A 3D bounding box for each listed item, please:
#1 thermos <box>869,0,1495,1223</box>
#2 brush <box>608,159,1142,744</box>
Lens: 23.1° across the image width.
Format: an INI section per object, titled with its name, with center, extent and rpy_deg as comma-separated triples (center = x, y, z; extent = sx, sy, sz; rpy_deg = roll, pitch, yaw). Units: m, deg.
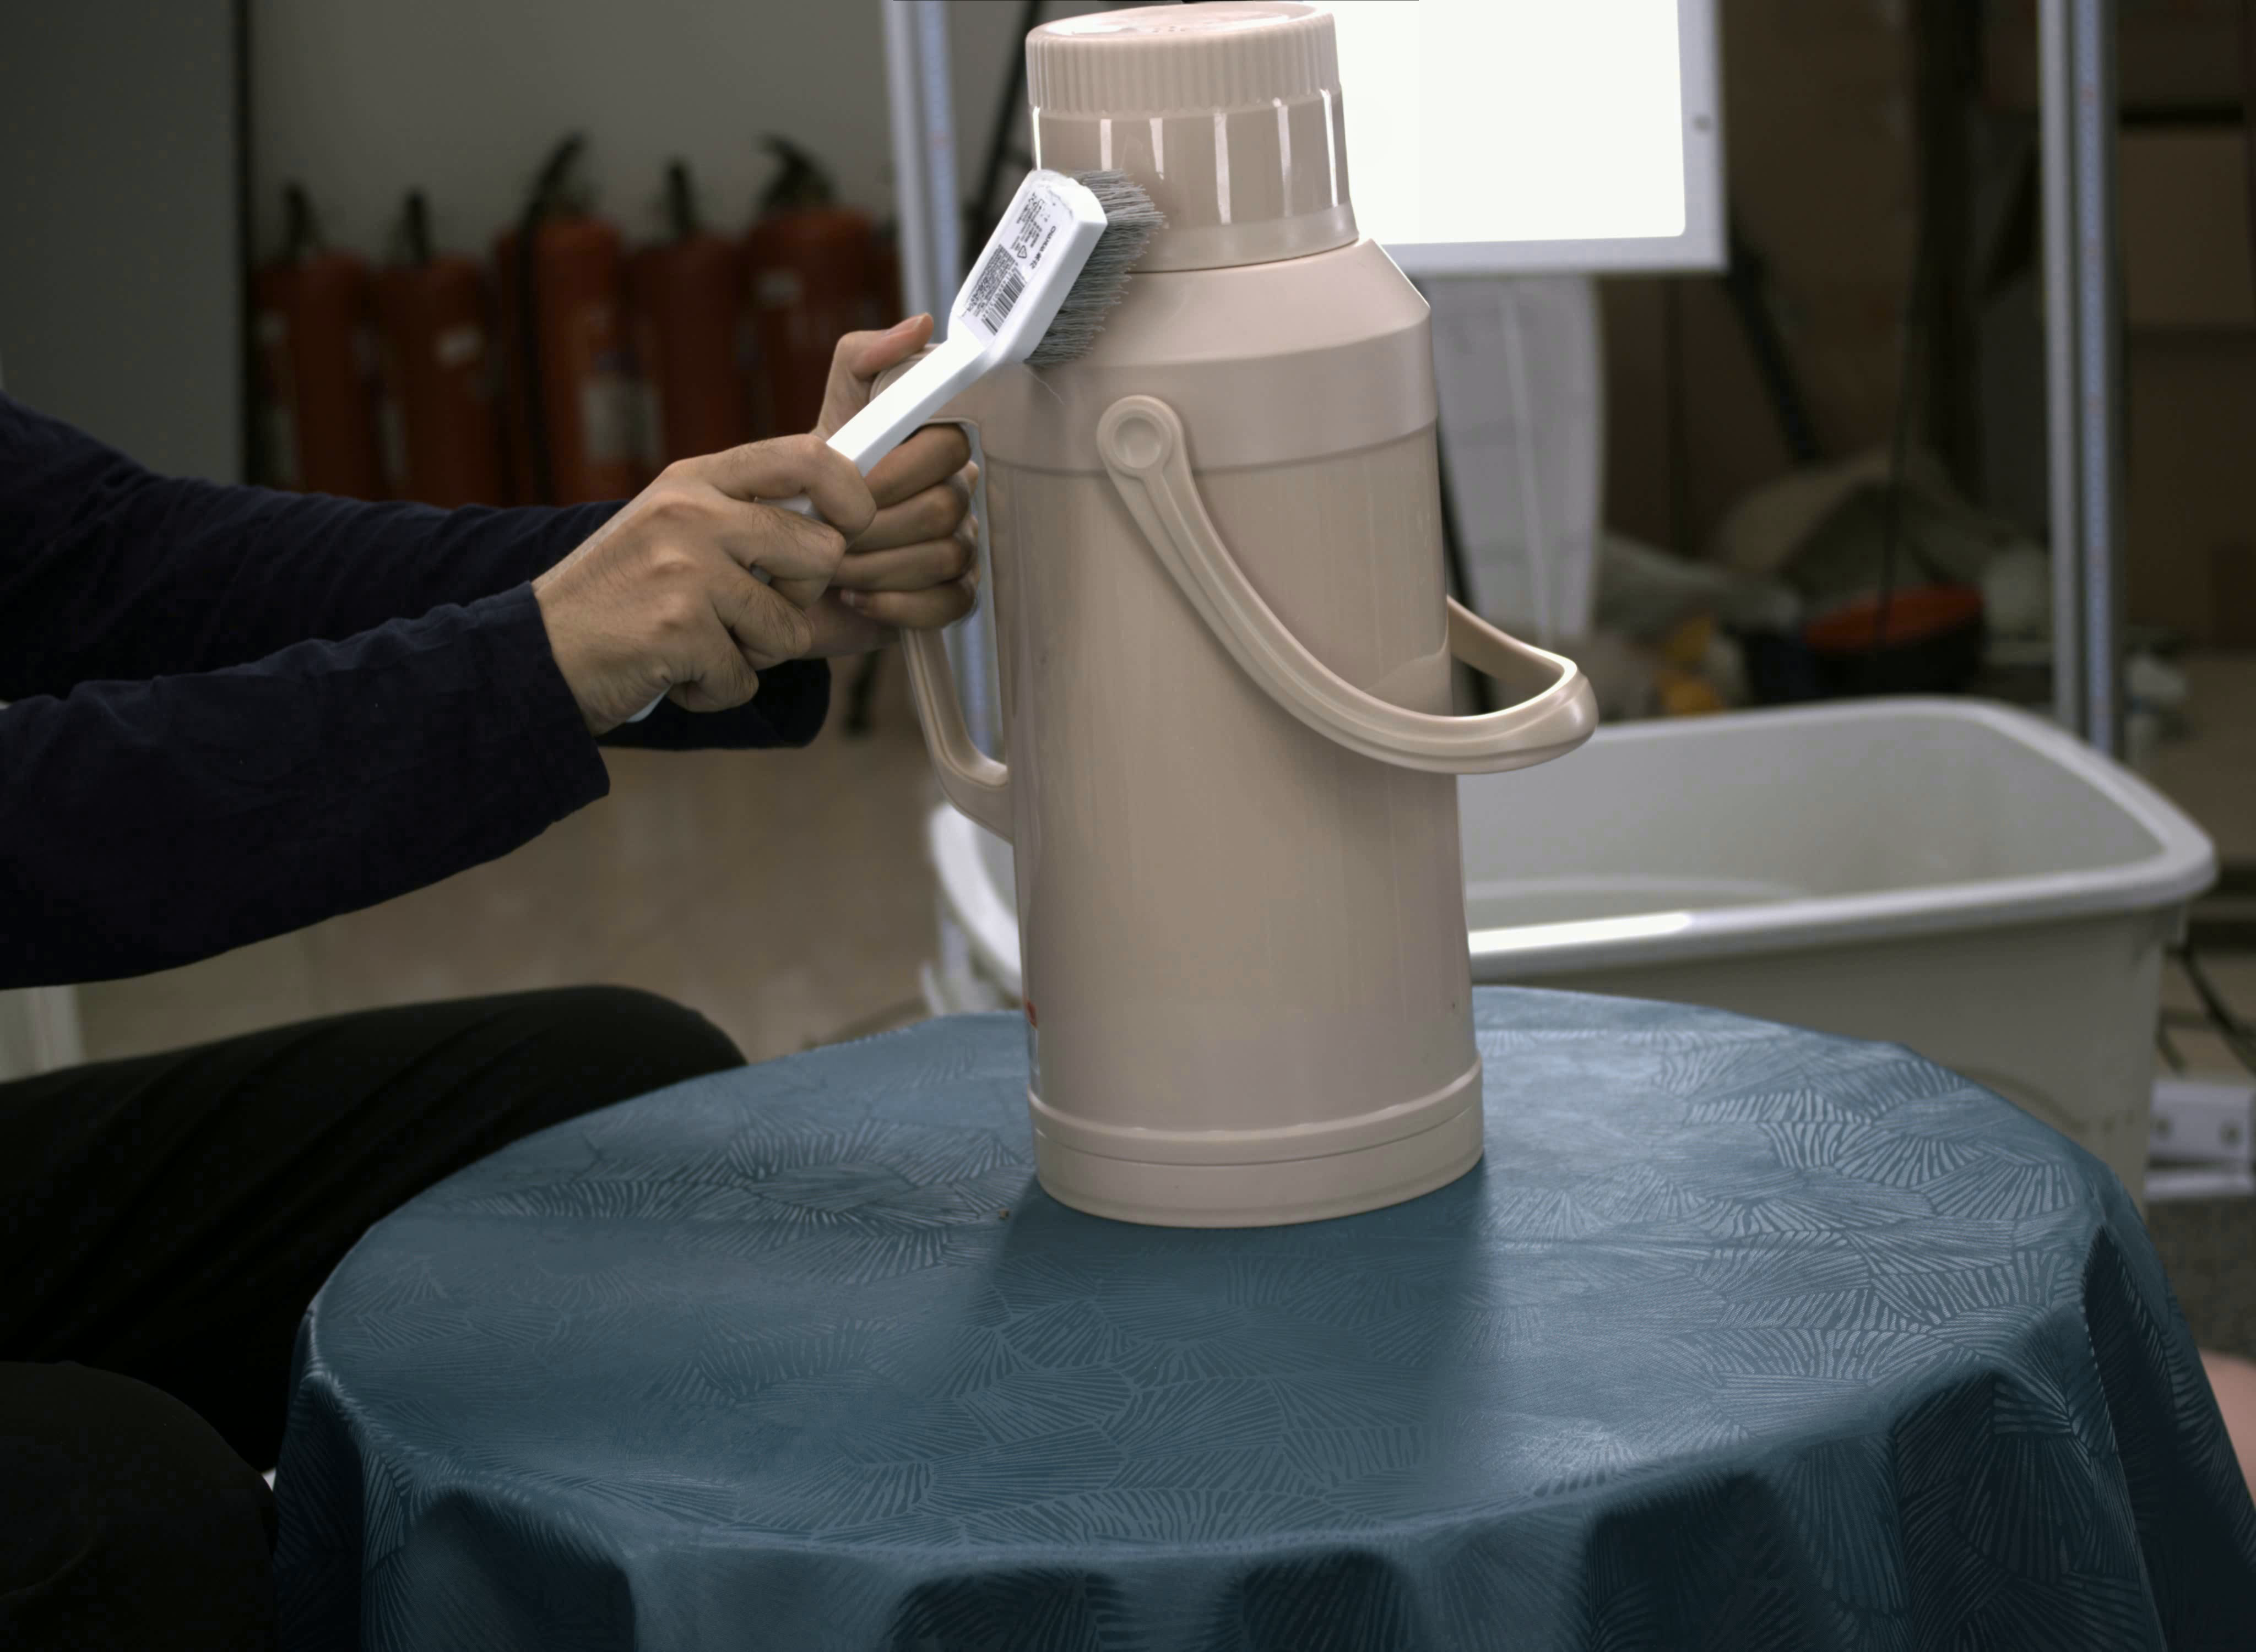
[thermos]
center = 0.019, -0.076, 1.884
extent = 0.209, 0.408, 0.173
rpy_deg = -1, 16, 17
[brush]
center = -0.082, -0.118, 1.793
extent = 0.035, 0.245, 0.049
rpy_deg = 46, 14, 30
